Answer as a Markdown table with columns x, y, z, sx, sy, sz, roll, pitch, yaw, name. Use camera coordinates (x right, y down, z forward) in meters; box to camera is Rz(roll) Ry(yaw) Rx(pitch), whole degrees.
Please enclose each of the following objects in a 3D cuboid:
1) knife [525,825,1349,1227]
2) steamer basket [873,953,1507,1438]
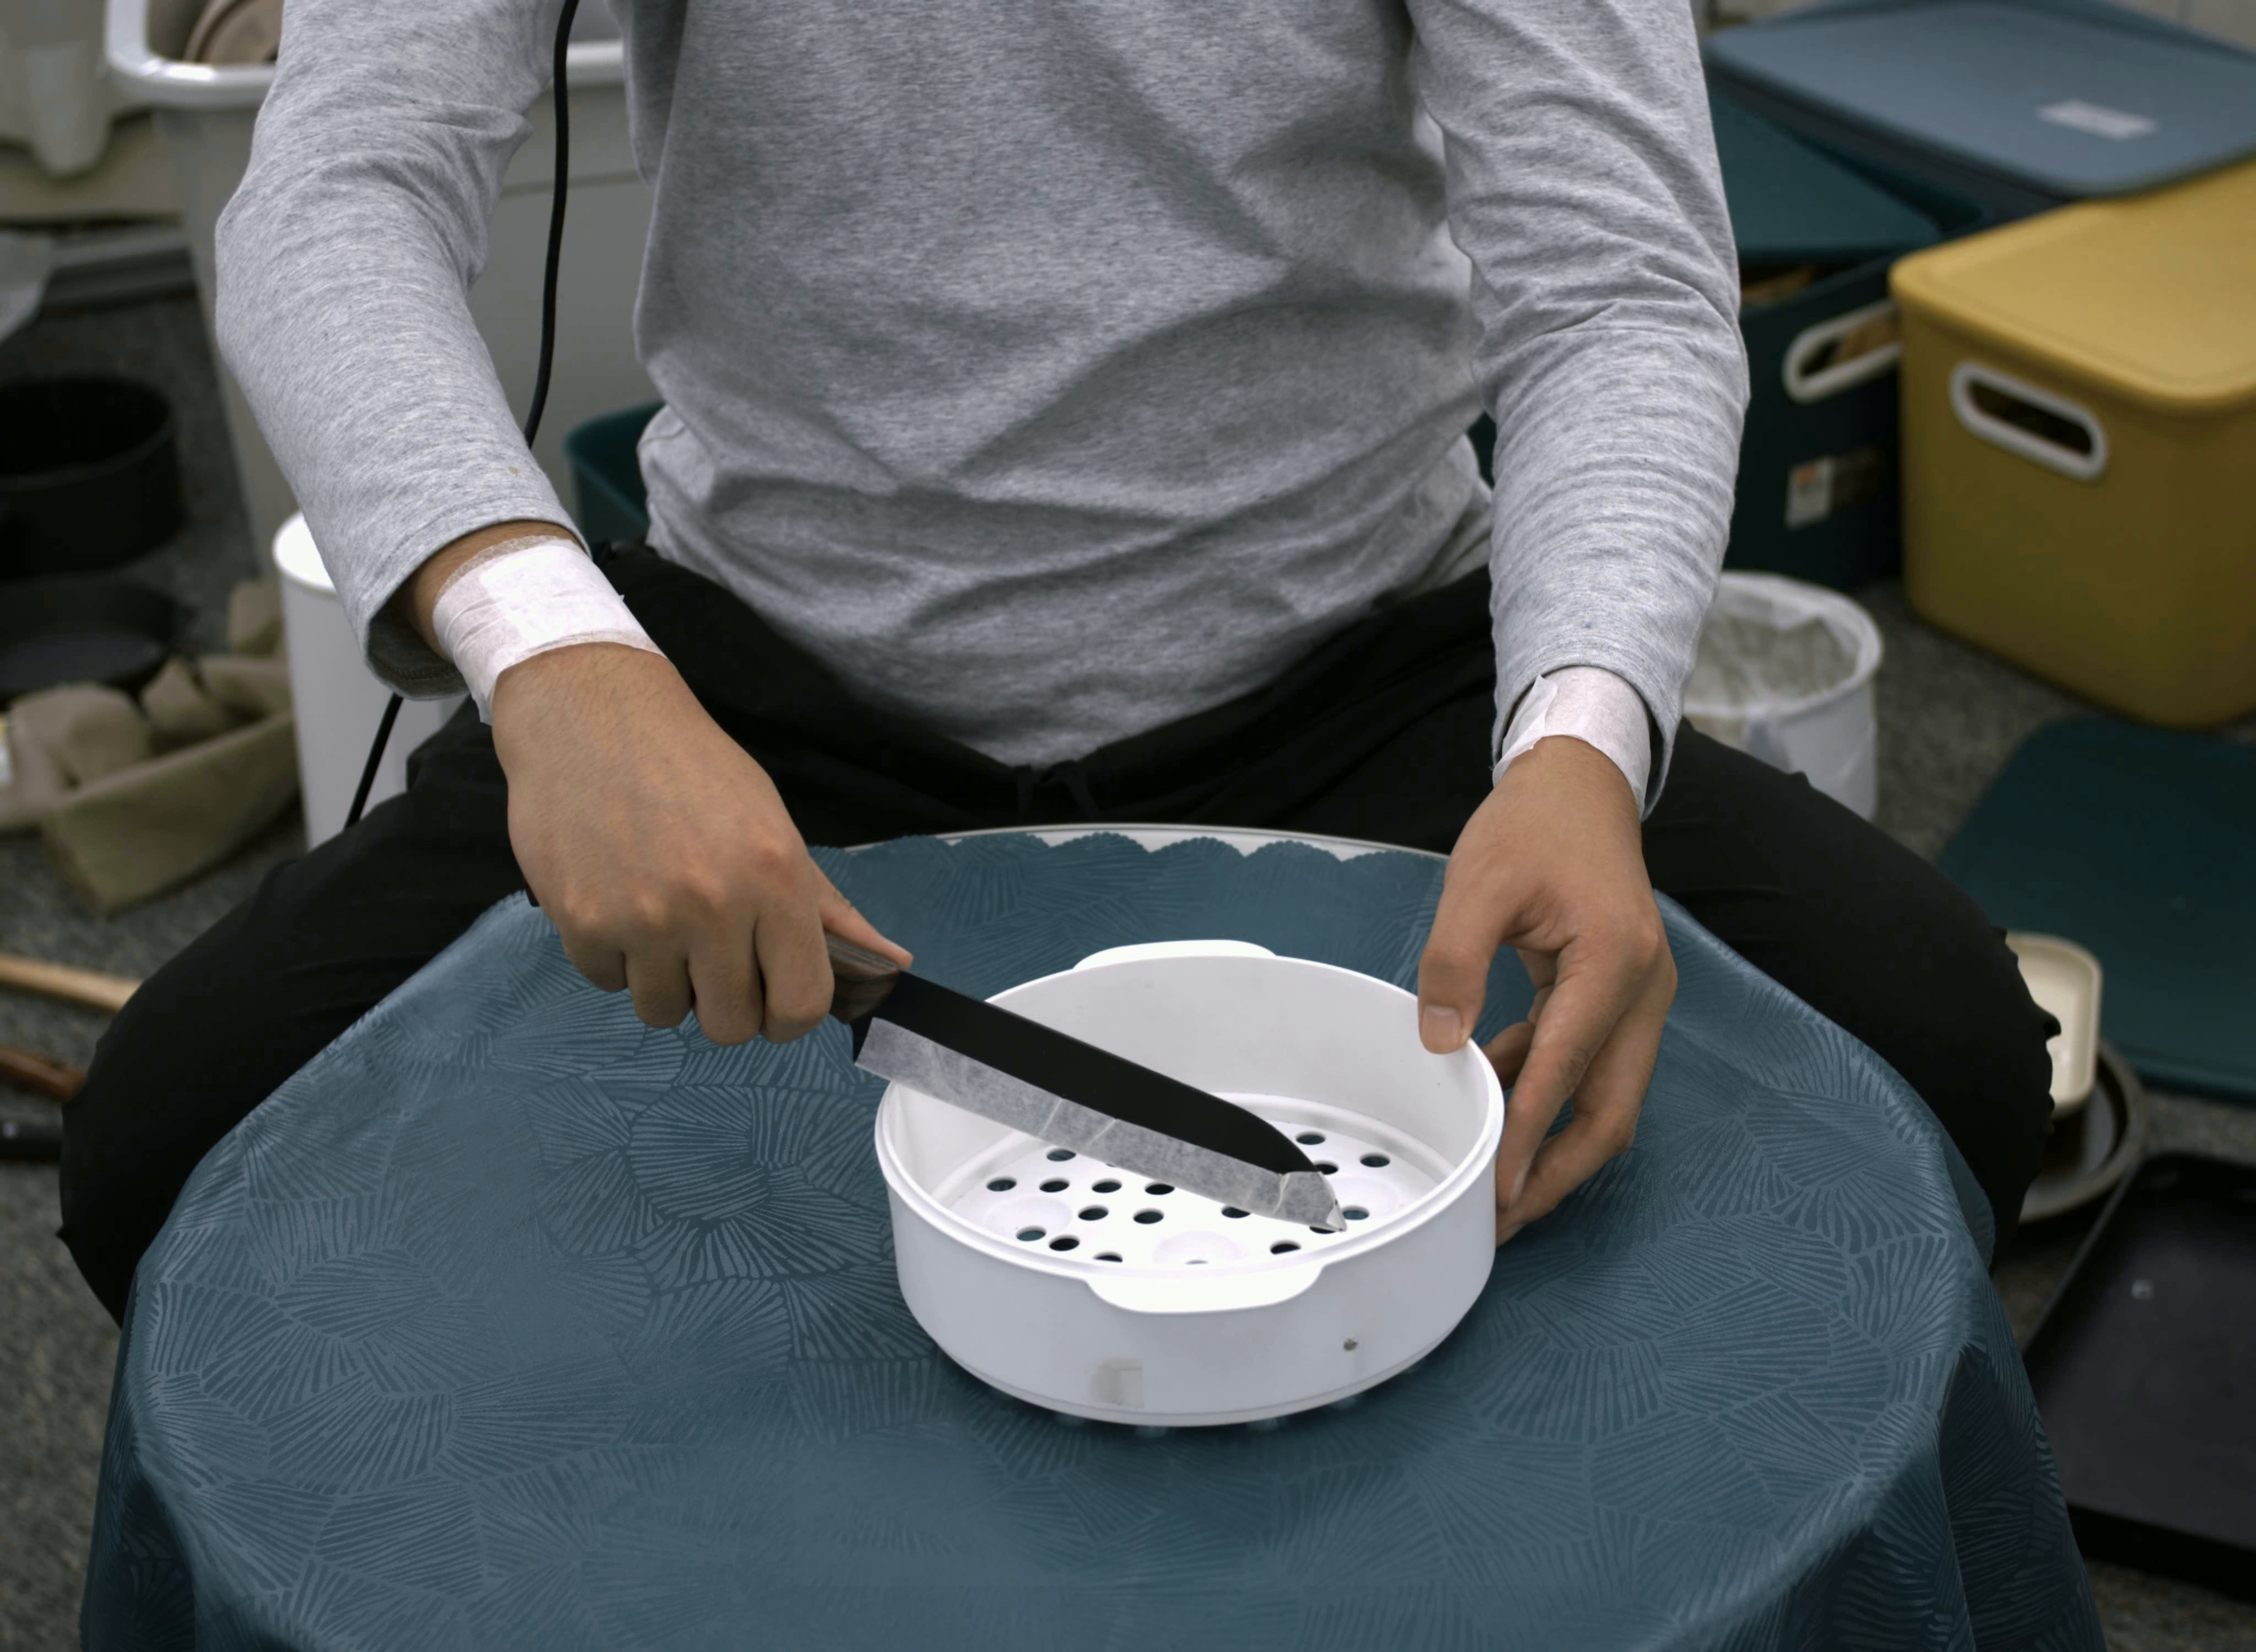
| x | y | z | sx | sy | sz | roll | pitch | yaw | name |
| --- | --- | --- | --- | --- | --- | --- | --- | --- | --- |
| -0.061 | 0.066 | 1.787 | 0.288 | 0.049 | 0.020 | 24 | 36 | 0 | knife |
| 0.020 | 0.119 | 1.792 | 0.201 | 0.068 | 0.234 | -3 | 26 | -1 | steamer basket |
